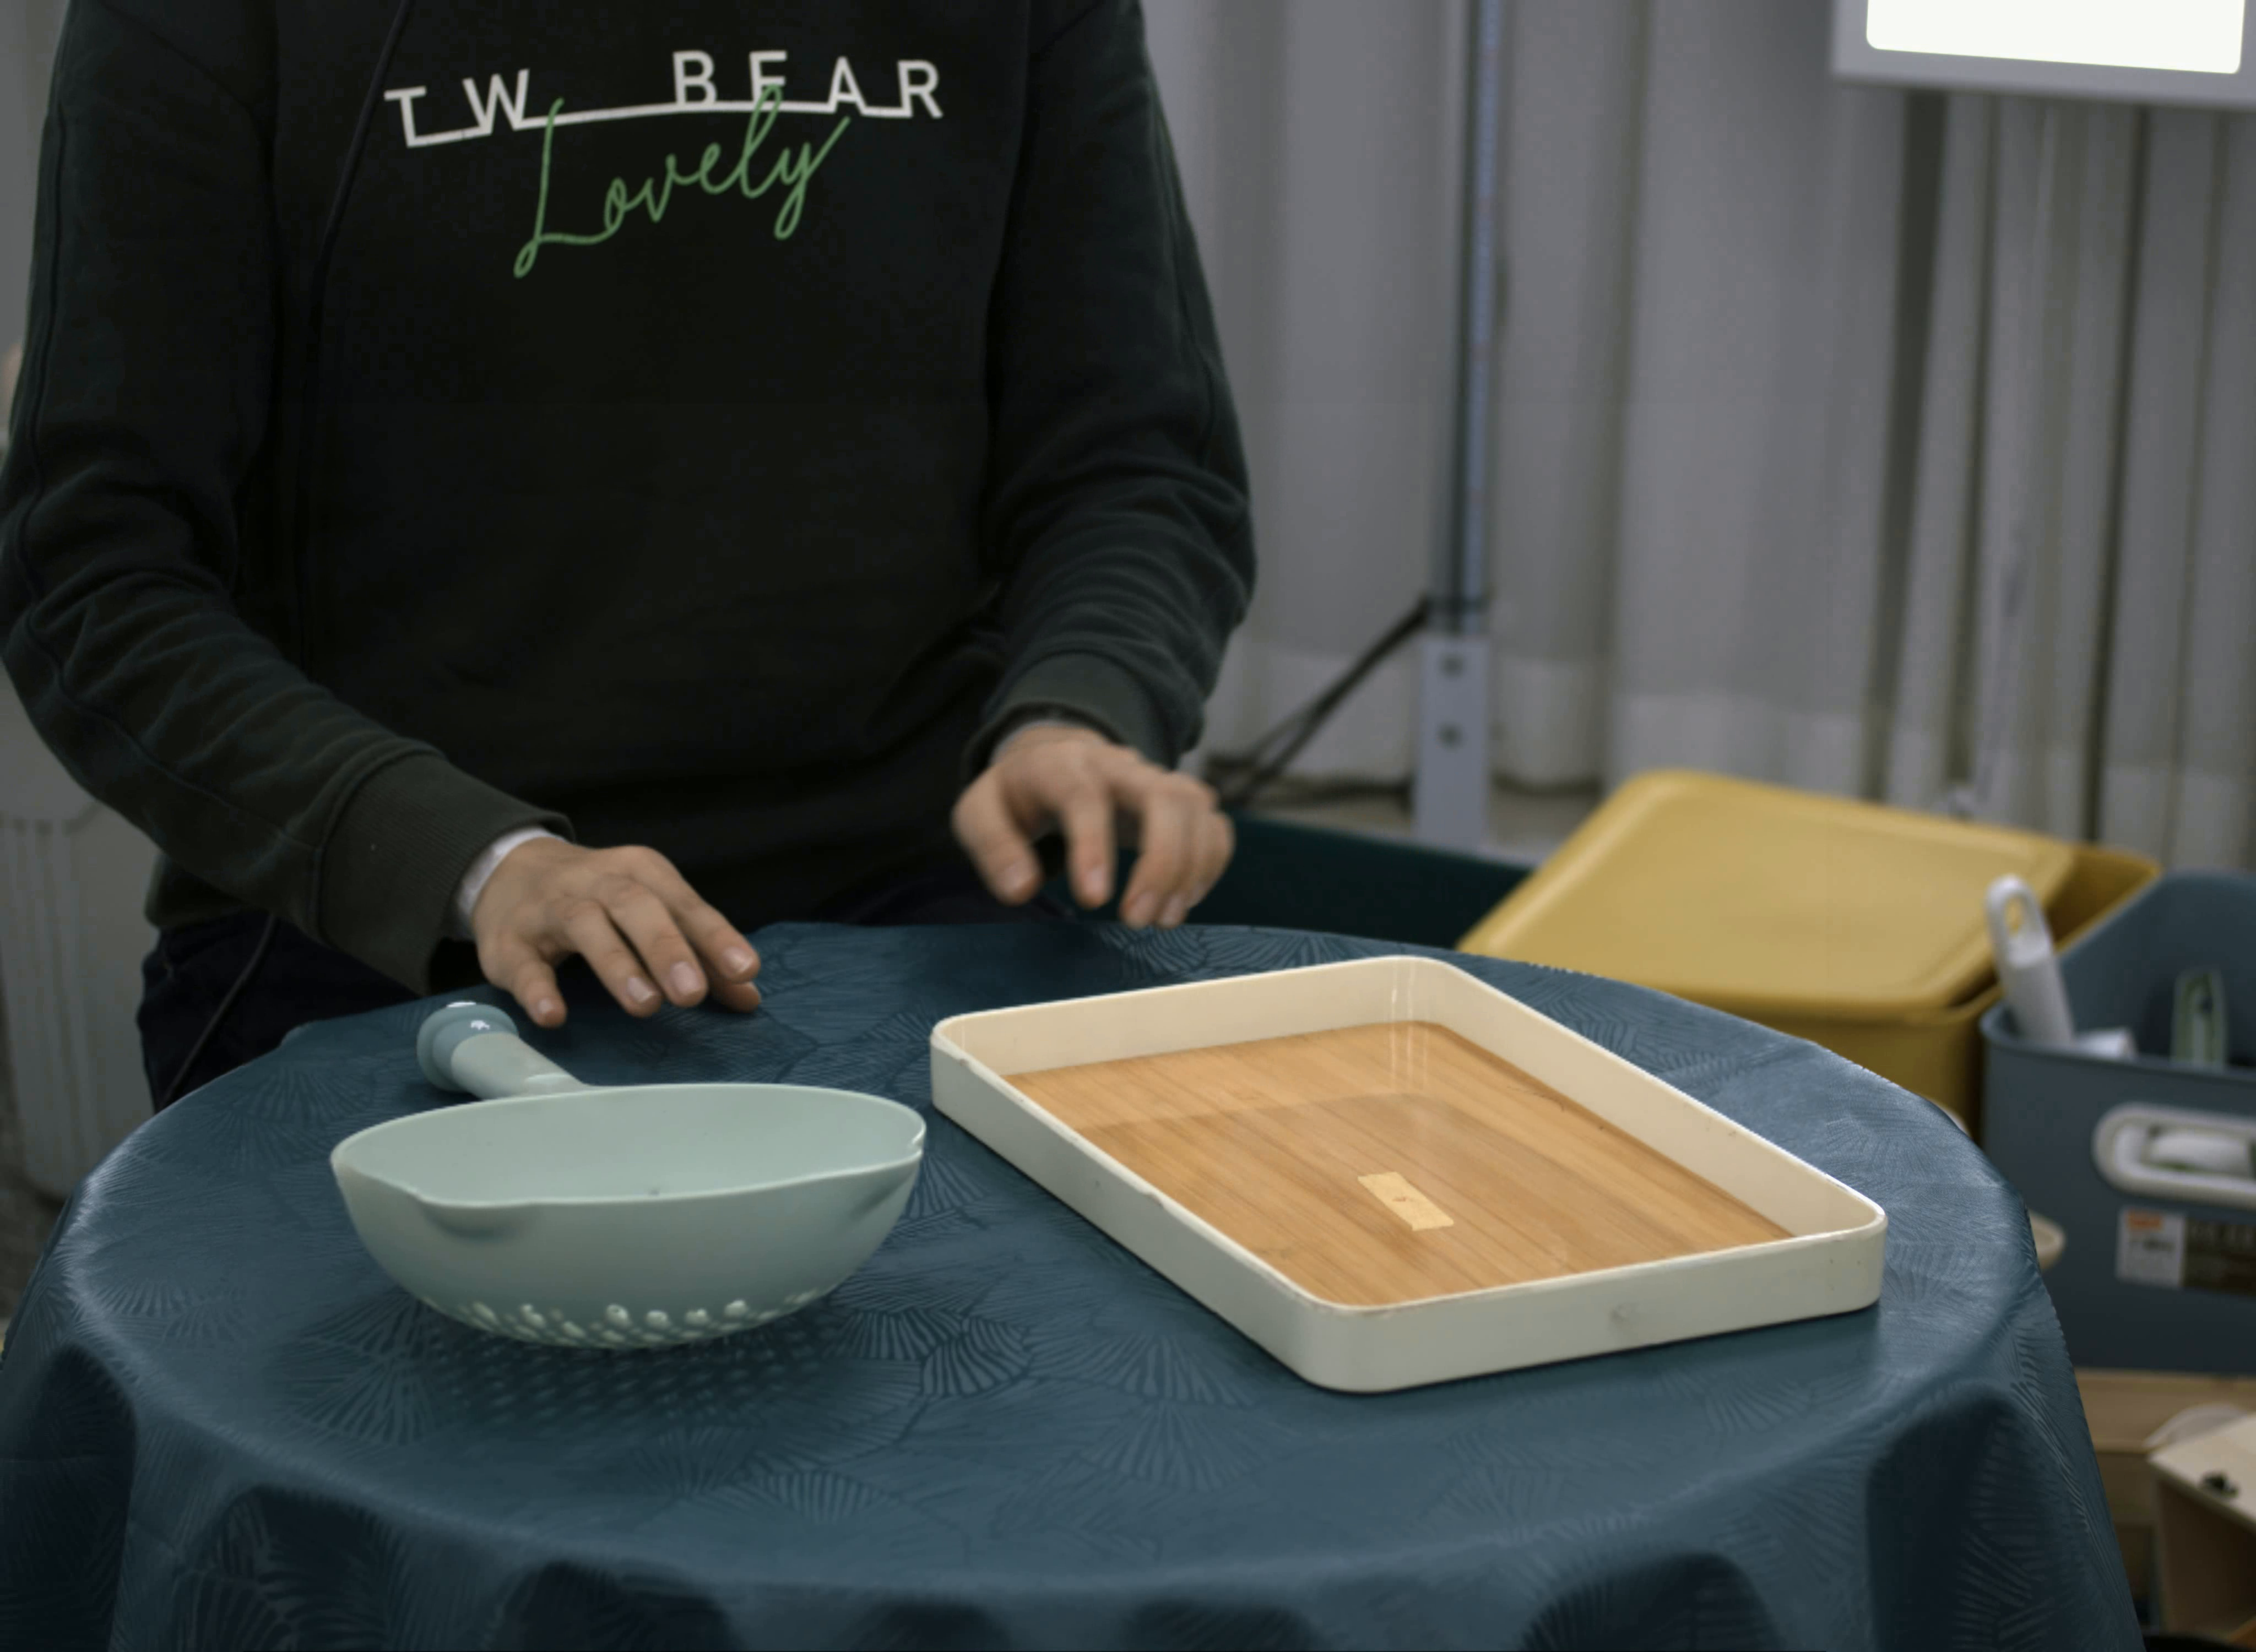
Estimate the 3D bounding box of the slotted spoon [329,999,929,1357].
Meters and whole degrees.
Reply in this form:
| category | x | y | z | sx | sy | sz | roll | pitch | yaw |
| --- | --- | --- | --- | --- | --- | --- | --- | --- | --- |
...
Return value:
| category | x | y | z | sx | sy | sz | roll | pitch | yaw |
| --- | --- | --- | --- | --- | --- | --- | --- | --- | --- |
| slotted spoon | -0.170 | 0.089 | 1.582 | 0.170 | 0.076 | 0.355 | -4 | 17 | -18 |

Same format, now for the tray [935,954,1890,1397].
| category | x | y | z | sx | sy | sz | roll | pitch | yaw |
| --- | --- | --- | --- | --- | --- | --- | --- | --- | --- |
| tray | 0.080 | 0.102 | 1.620 | 0.192 | 0.027 | 0.296 | -7 | 18 | -24 |
